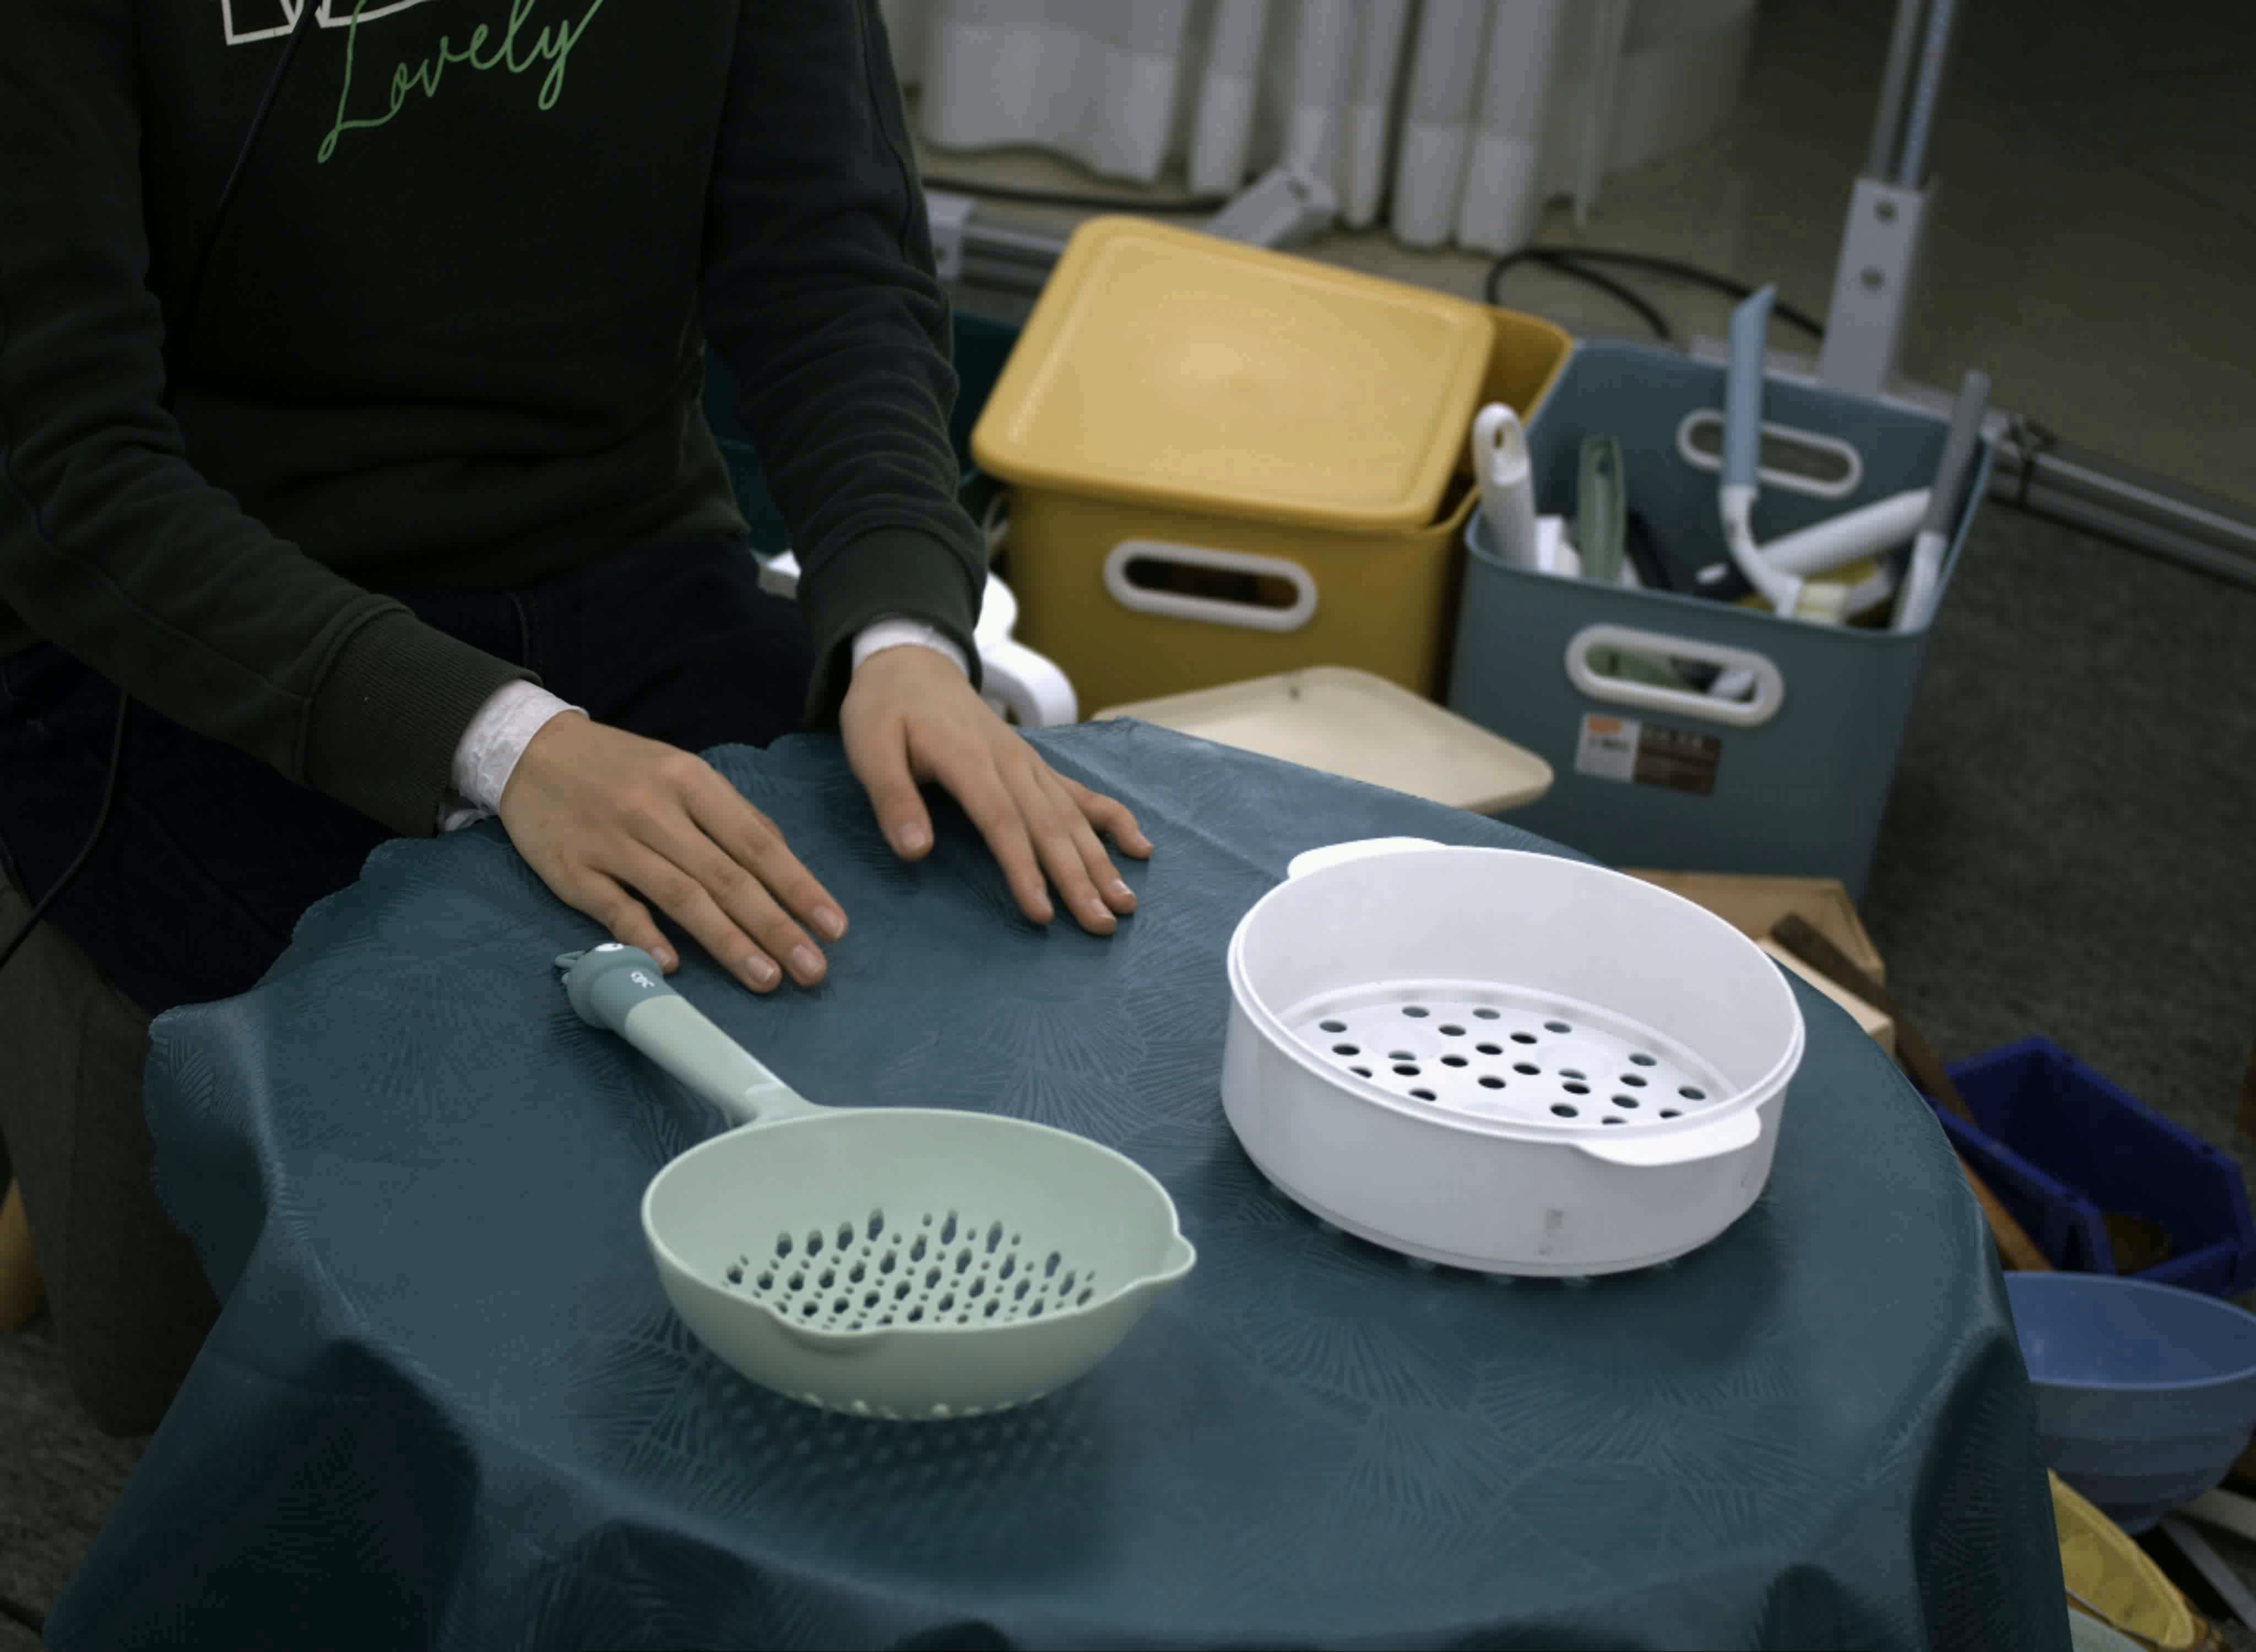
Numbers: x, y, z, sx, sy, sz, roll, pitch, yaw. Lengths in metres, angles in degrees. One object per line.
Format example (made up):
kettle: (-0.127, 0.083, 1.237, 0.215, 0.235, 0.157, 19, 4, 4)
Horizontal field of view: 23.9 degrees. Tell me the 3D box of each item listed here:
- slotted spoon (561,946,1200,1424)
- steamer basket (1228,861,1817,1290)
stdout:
slotted spoon: (-0.114, 0.102, 1.747, 0.168, 0.075, 0.362, -7, 30, -27)
steamer basket: (0.133, 0.087, 1.834, 0.200, 0.069, 0.232, -7, 28, -29)
